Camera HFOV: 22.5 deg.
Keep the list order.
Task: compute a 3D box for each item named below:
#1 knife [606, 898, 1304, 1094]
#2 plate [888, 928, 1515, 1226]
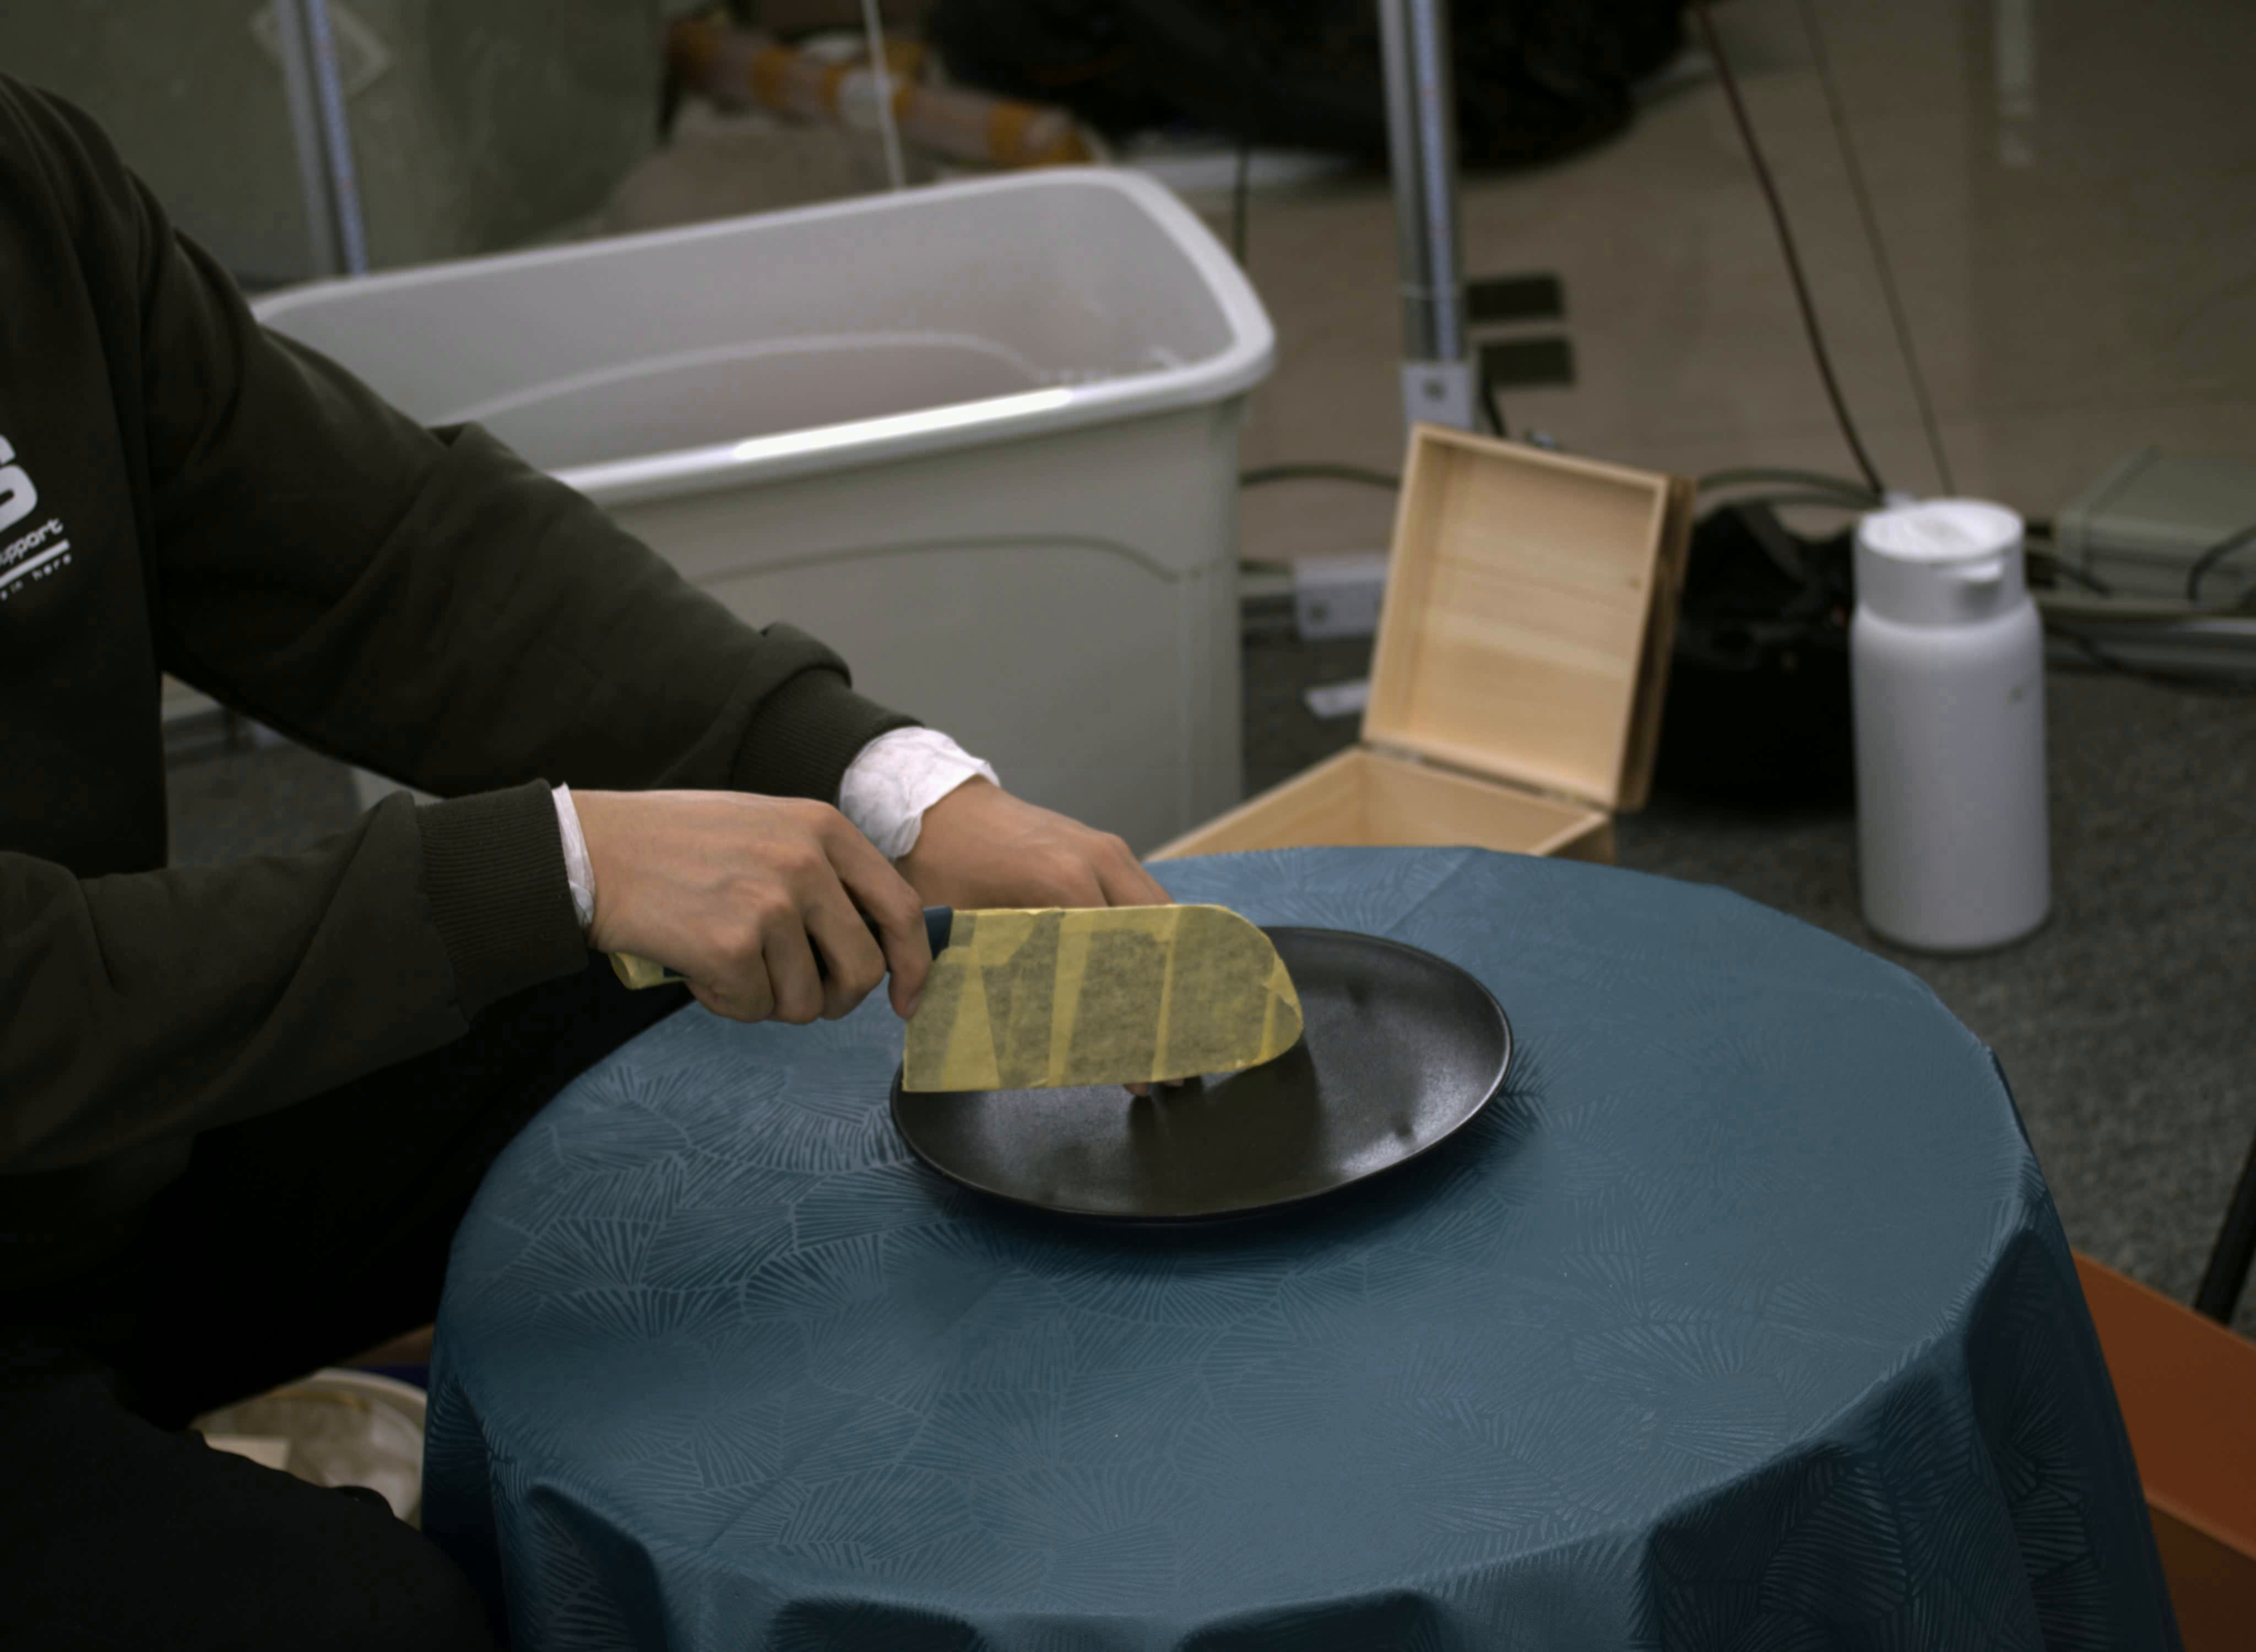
[{"bbox_3d":[-0.062,0.063,2.154,0.289,0.082,0.027,3,15,-24],"label":"knife"},{"bbox_3d":[0.029,0.102,2.197,0.244,0.024,0.241,-5,25,3],"label":"plate"}]
